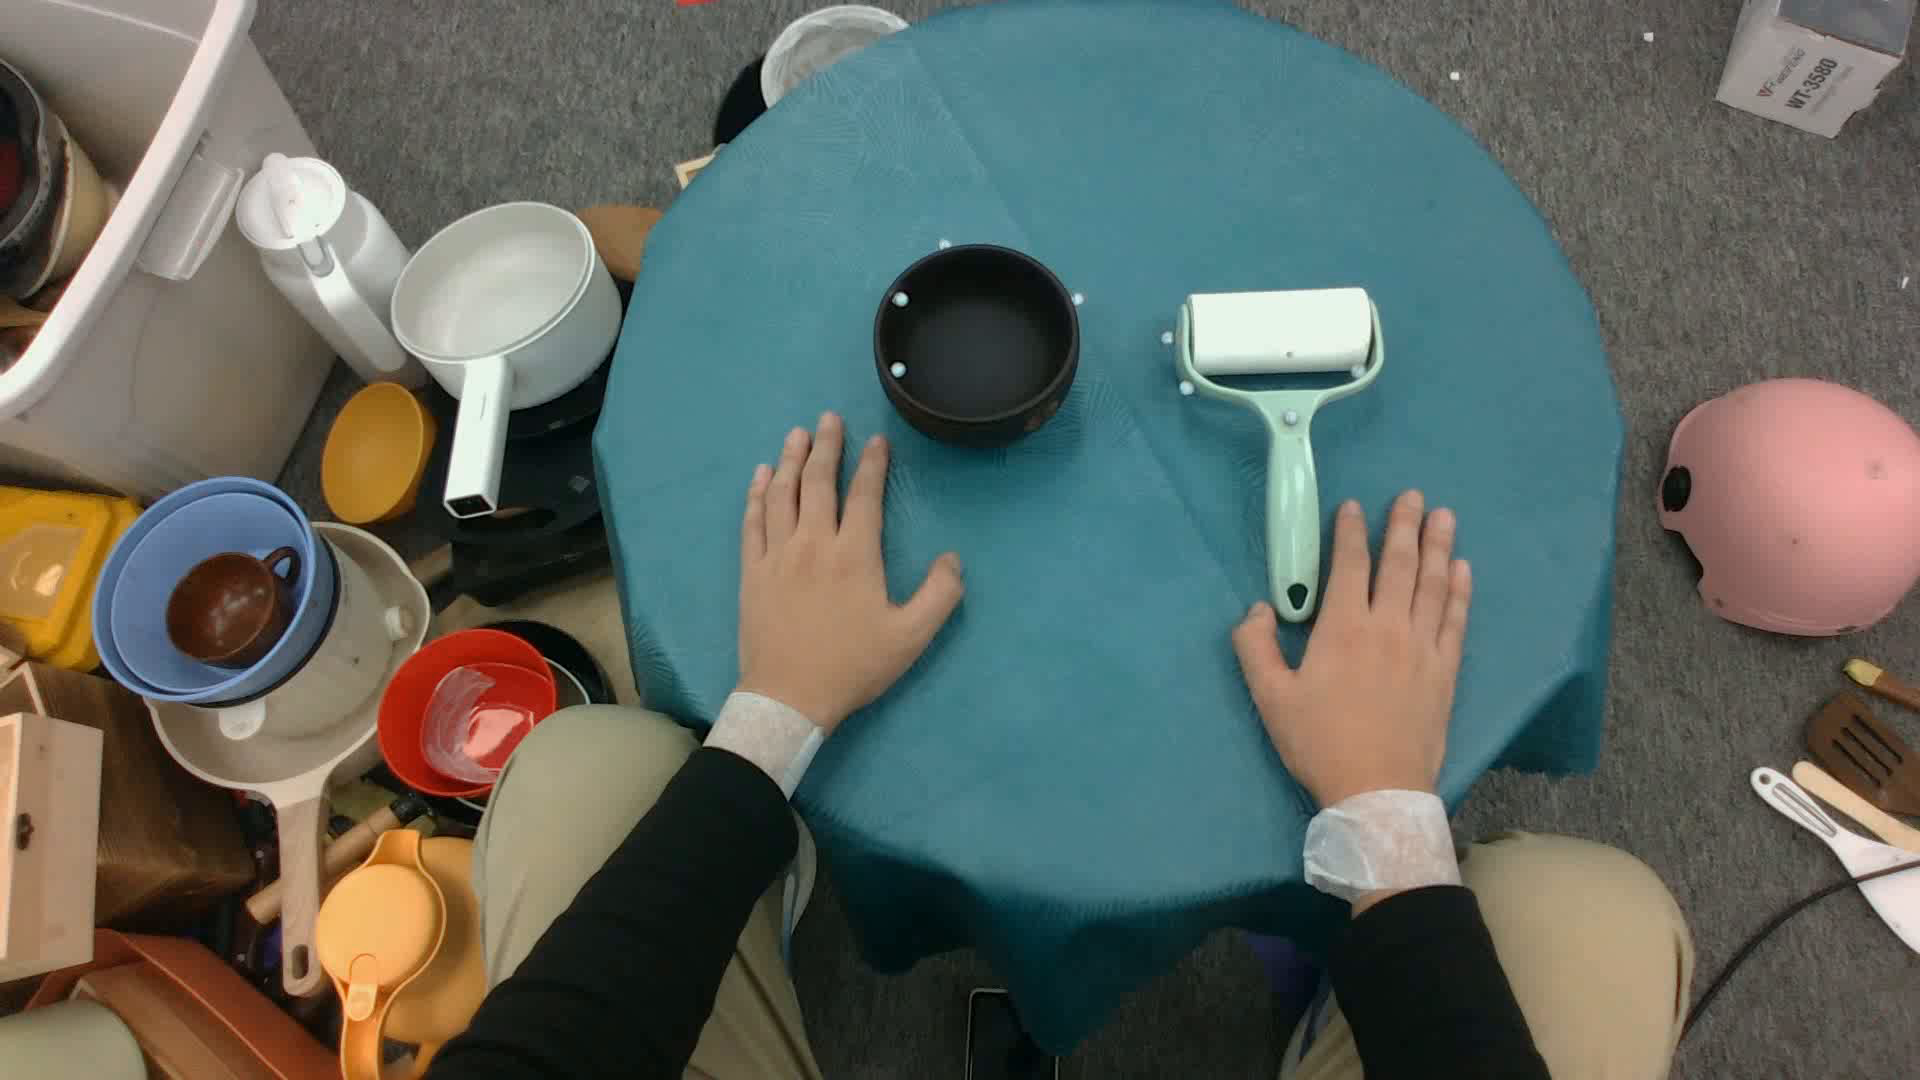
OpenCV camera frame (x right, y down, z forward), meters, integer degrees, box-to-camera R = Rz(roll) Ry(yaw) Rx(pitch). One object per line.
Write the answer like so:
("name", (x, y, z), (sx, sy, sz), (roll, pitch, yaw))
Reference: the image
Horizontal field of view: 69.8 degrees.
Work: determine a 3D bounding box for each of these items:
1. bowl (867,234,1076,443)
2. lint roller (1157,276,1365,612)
("bowl", (0.007, -0.109, 0.793), (0.118, 0.069, 0.118), (0, 70, 1))
("lint roller", (0.176, -0.058, 0.783), (0.116, 0.048, 0.198), (-2, 71, 0))
